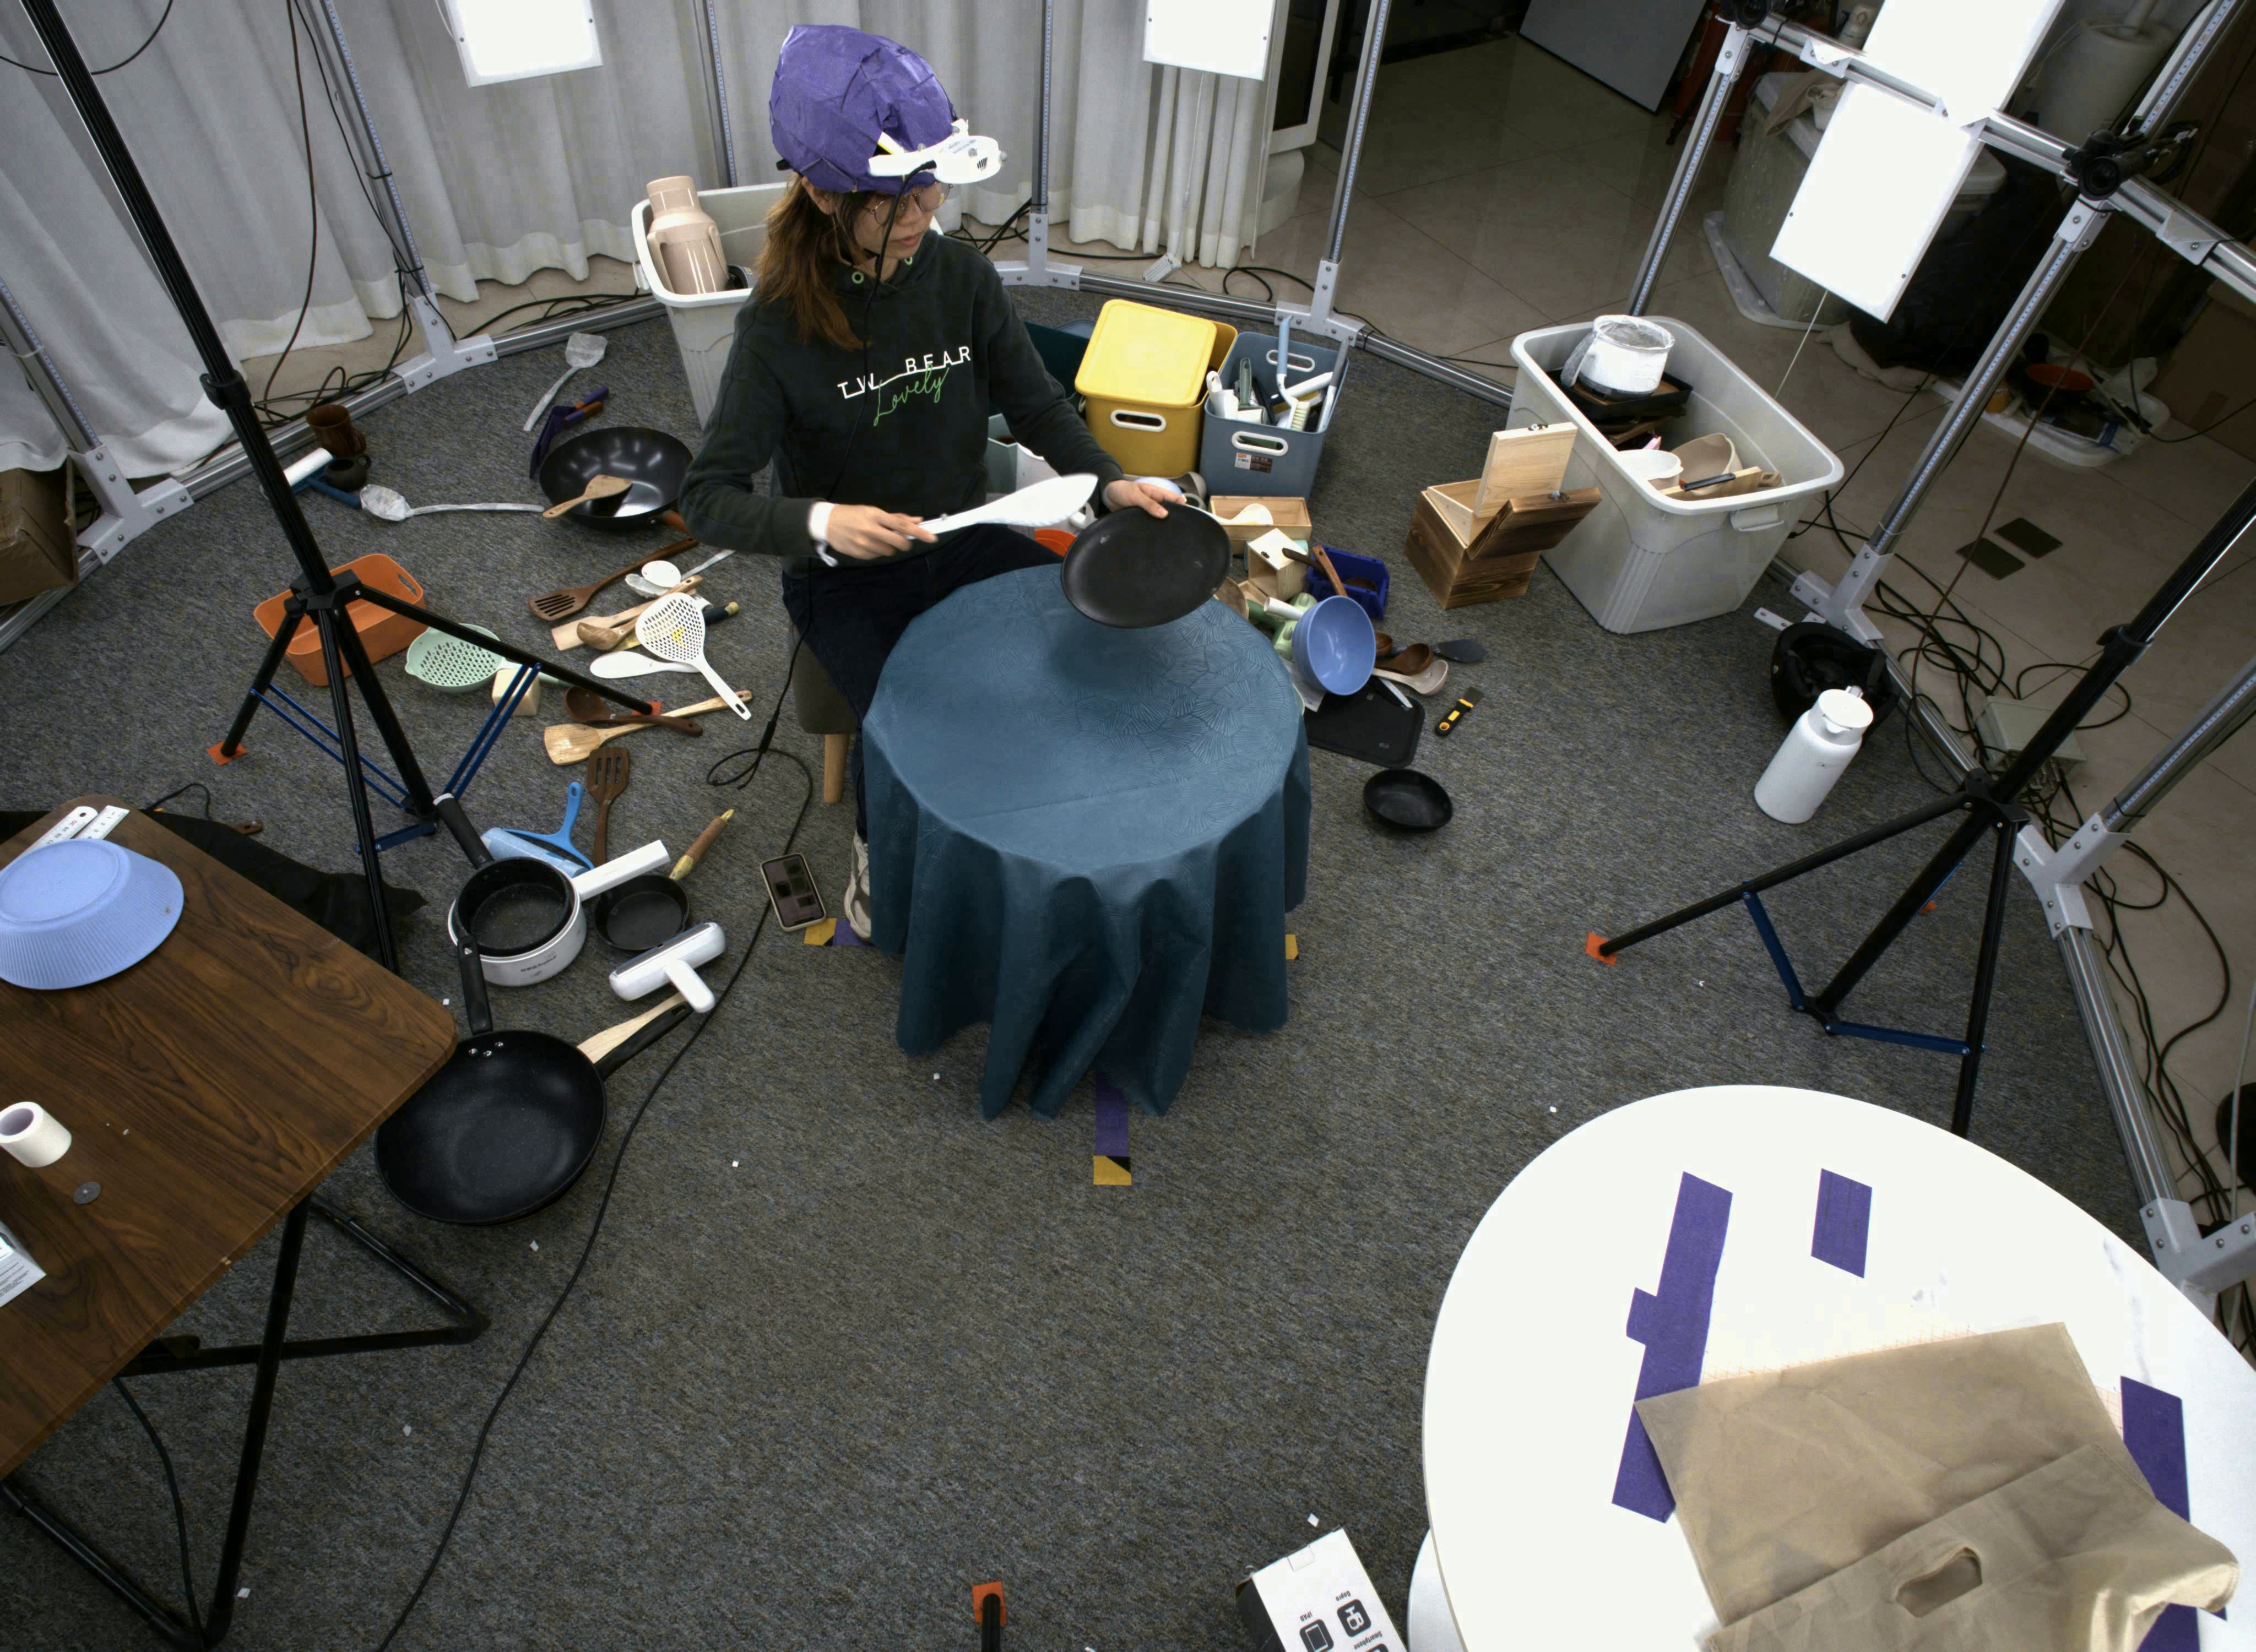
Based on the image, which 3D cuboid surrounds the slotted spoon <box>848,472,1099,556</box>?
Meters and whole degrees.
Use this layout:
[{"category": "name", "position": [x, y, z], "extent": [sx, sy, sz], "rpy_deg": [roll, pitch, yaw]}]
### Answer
[{"category": "slotted spoon", "position": [-0.203, -0.402, 1.690], "extent": [0.350, 0.045, 0.139], "rpy_deg": [-7, 31, 11]}]

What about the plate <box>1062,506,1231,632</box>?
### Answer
[{"category": "plate", "position": [0.027, -0.362, 1.825], "extent": [0.244, 0.023, 0.250], "rpy_deg": [-7, 53, 9]}]
